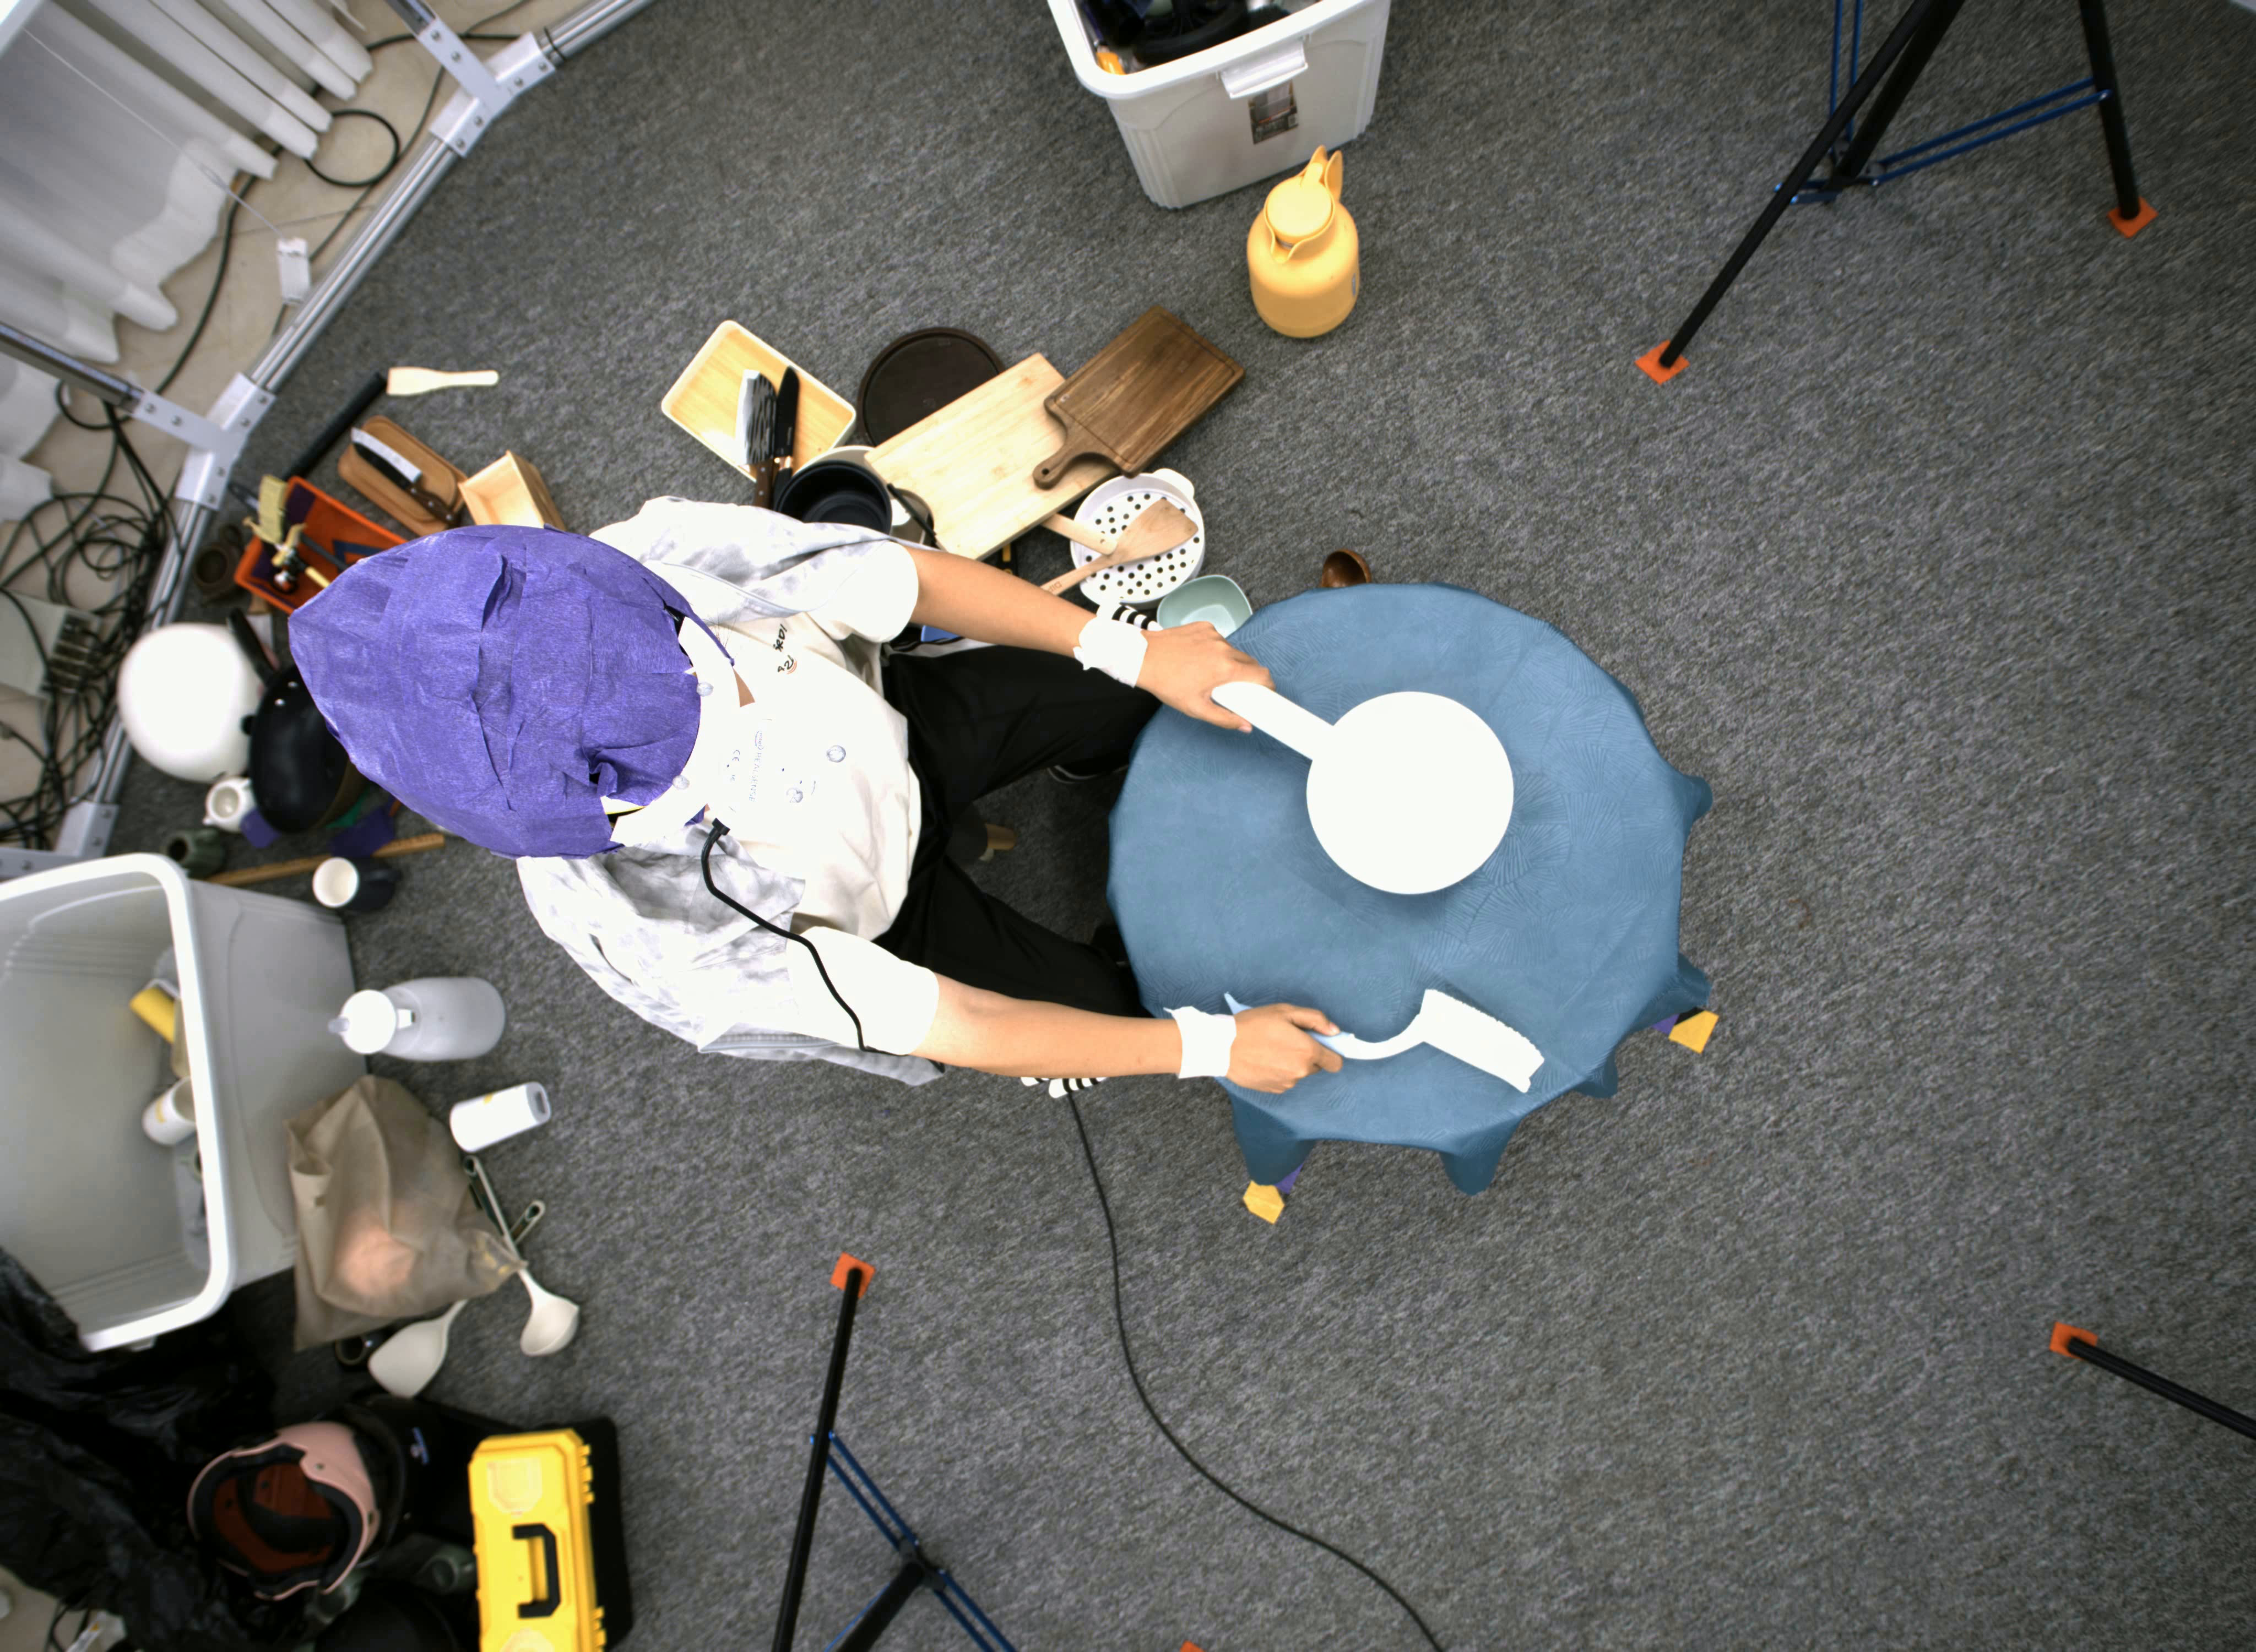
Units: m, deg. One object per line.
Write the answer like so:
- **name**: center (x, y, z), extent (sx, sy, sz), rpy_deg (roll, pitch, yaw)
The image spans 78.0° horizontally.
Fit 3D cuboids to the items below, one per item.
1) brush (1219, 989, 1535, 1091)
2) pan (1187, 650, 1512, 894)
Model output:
- **brush**: center (0.255, 0.190, 1.421), extent (0.326, 0.082, 0.085), rpy_deg (13, 125, 16)
- **pan**: center (0.223, -0.070, 1.425), extent (0.354, 0.102, 0.201), rpy_deg (32, 93, 13)
